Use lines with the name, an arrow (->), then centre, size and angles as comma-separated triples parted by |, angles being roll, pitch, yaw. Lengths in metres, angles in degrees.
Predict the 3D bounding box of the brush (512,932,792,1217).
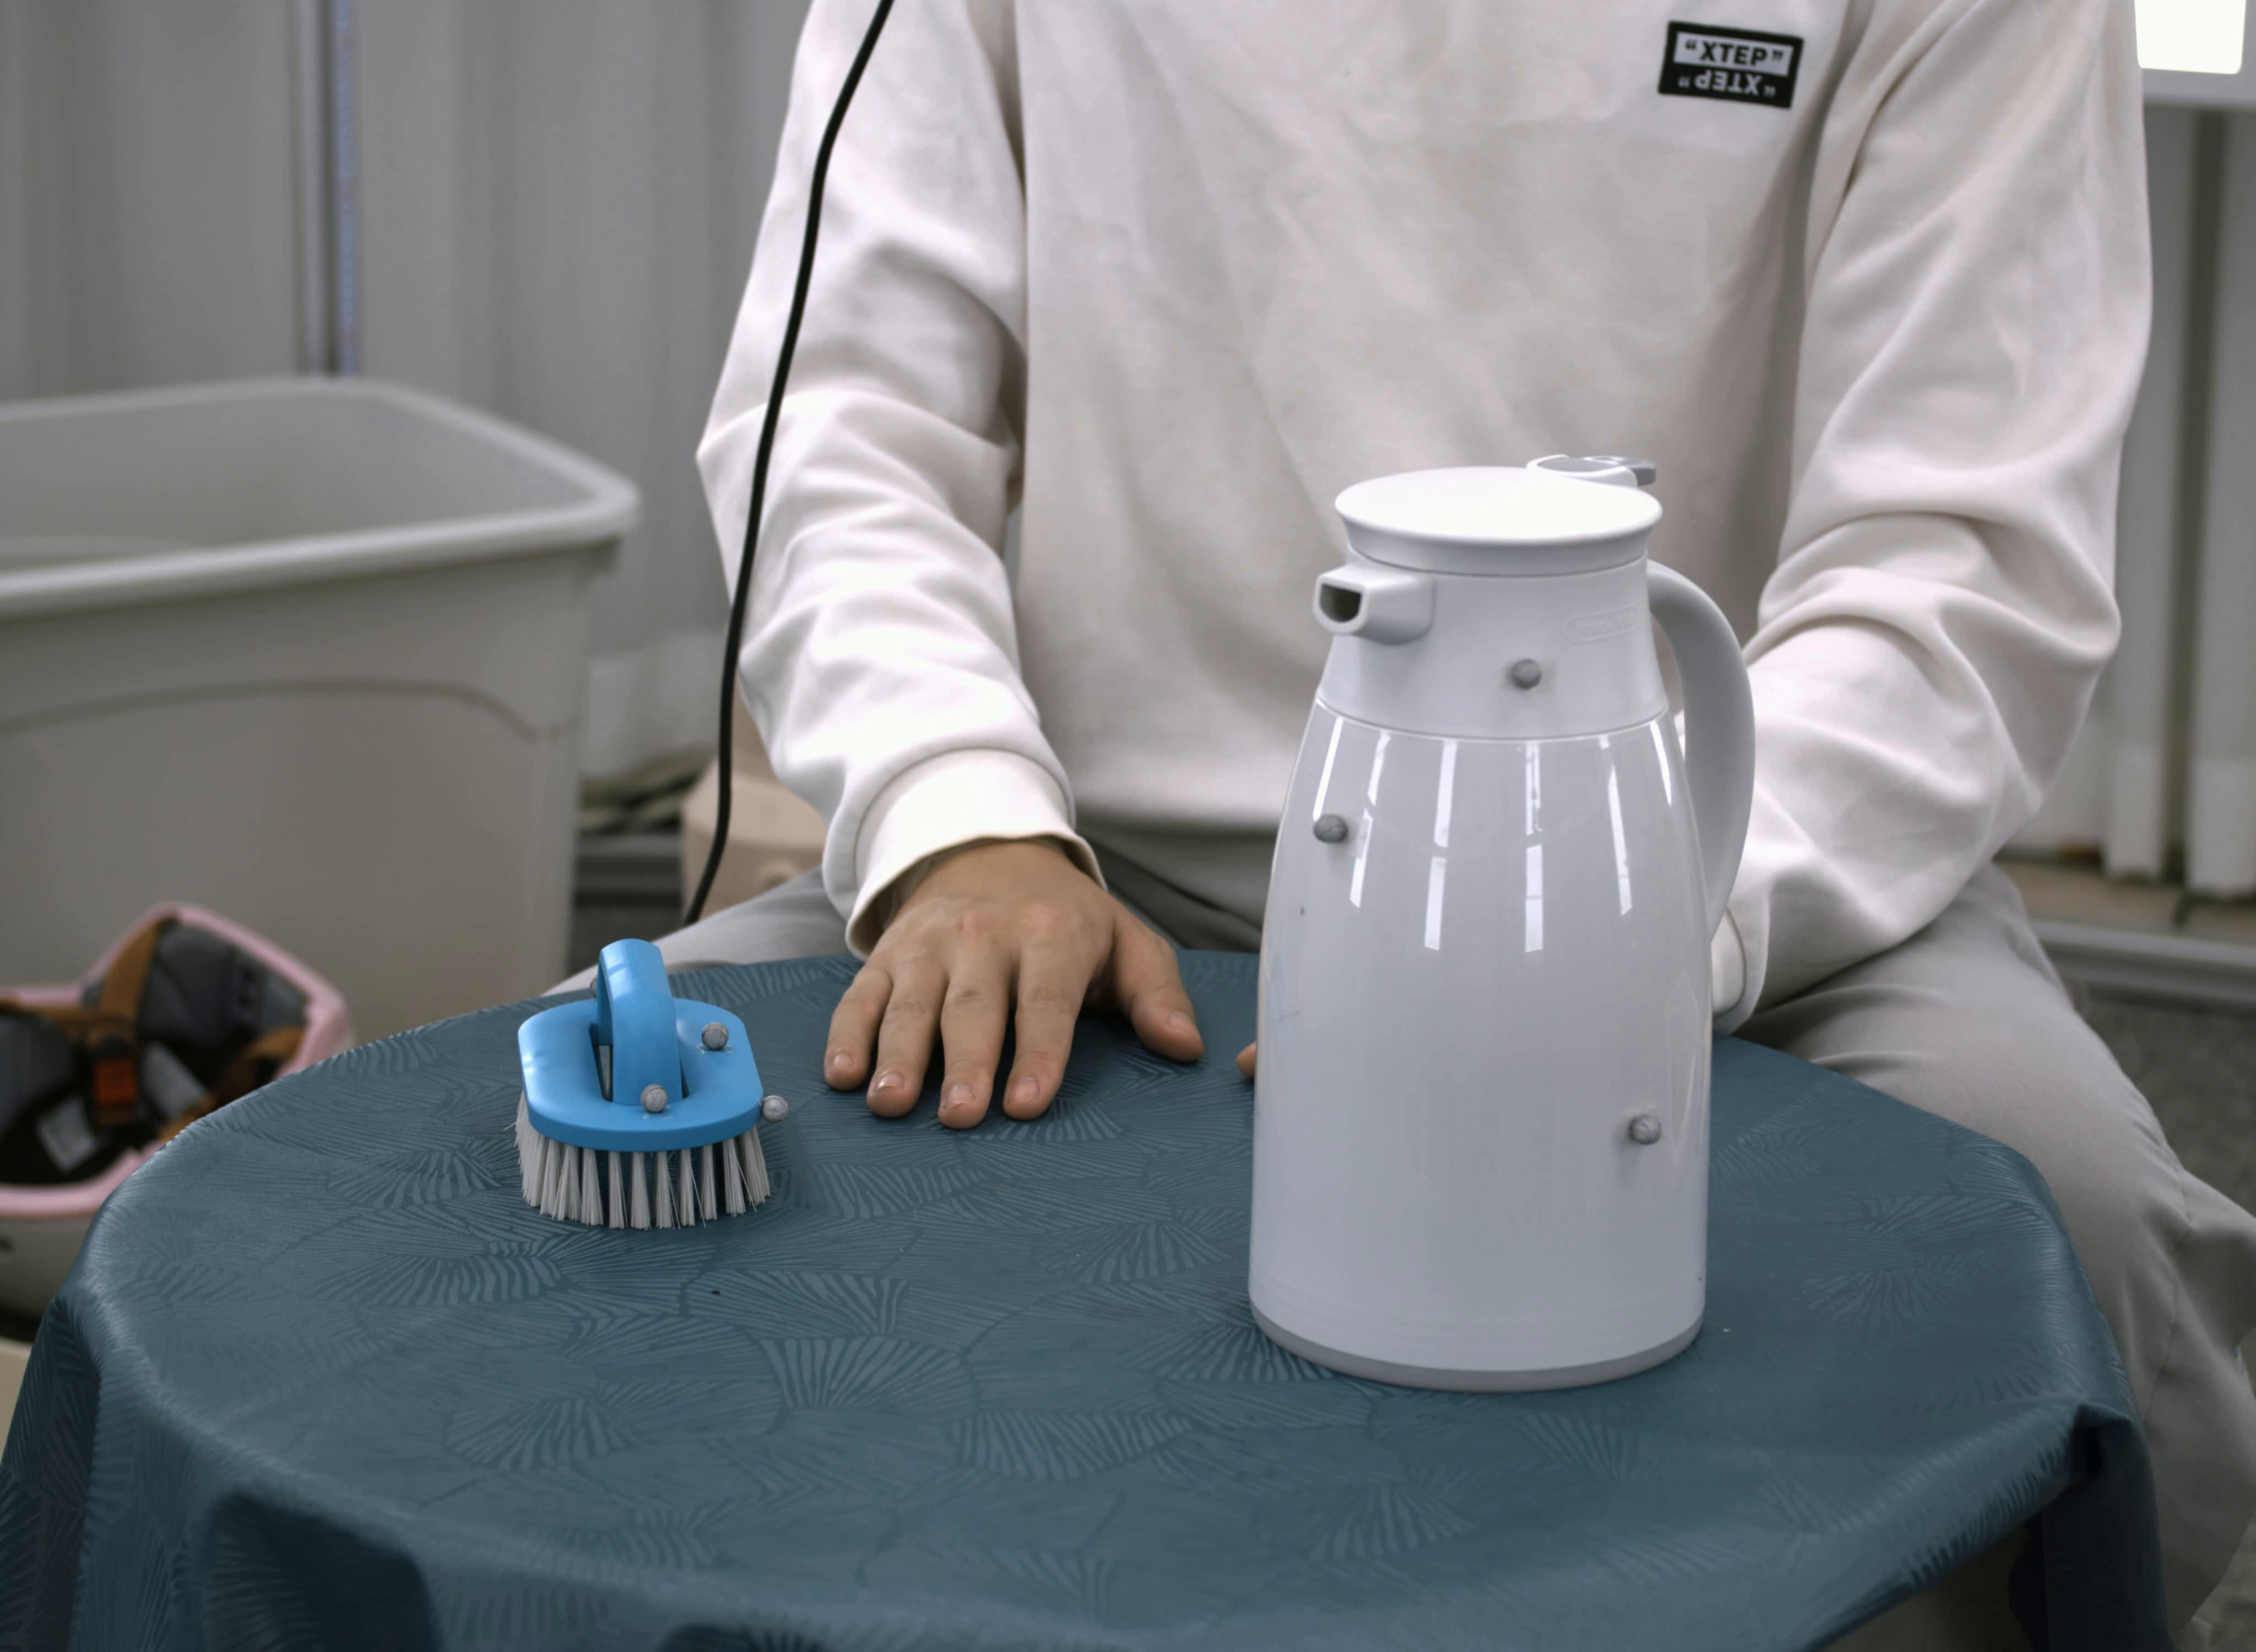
brush -> -0.151, 0.072, 1.646 | 0.084, 0.064, 0.141 | -6, 15, -6

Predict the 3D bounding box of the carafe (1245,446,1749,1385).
carafe -> 0.114, 0.017, 1.511 | 0.168, 0.250, 0.131 | -14, 21, -43
